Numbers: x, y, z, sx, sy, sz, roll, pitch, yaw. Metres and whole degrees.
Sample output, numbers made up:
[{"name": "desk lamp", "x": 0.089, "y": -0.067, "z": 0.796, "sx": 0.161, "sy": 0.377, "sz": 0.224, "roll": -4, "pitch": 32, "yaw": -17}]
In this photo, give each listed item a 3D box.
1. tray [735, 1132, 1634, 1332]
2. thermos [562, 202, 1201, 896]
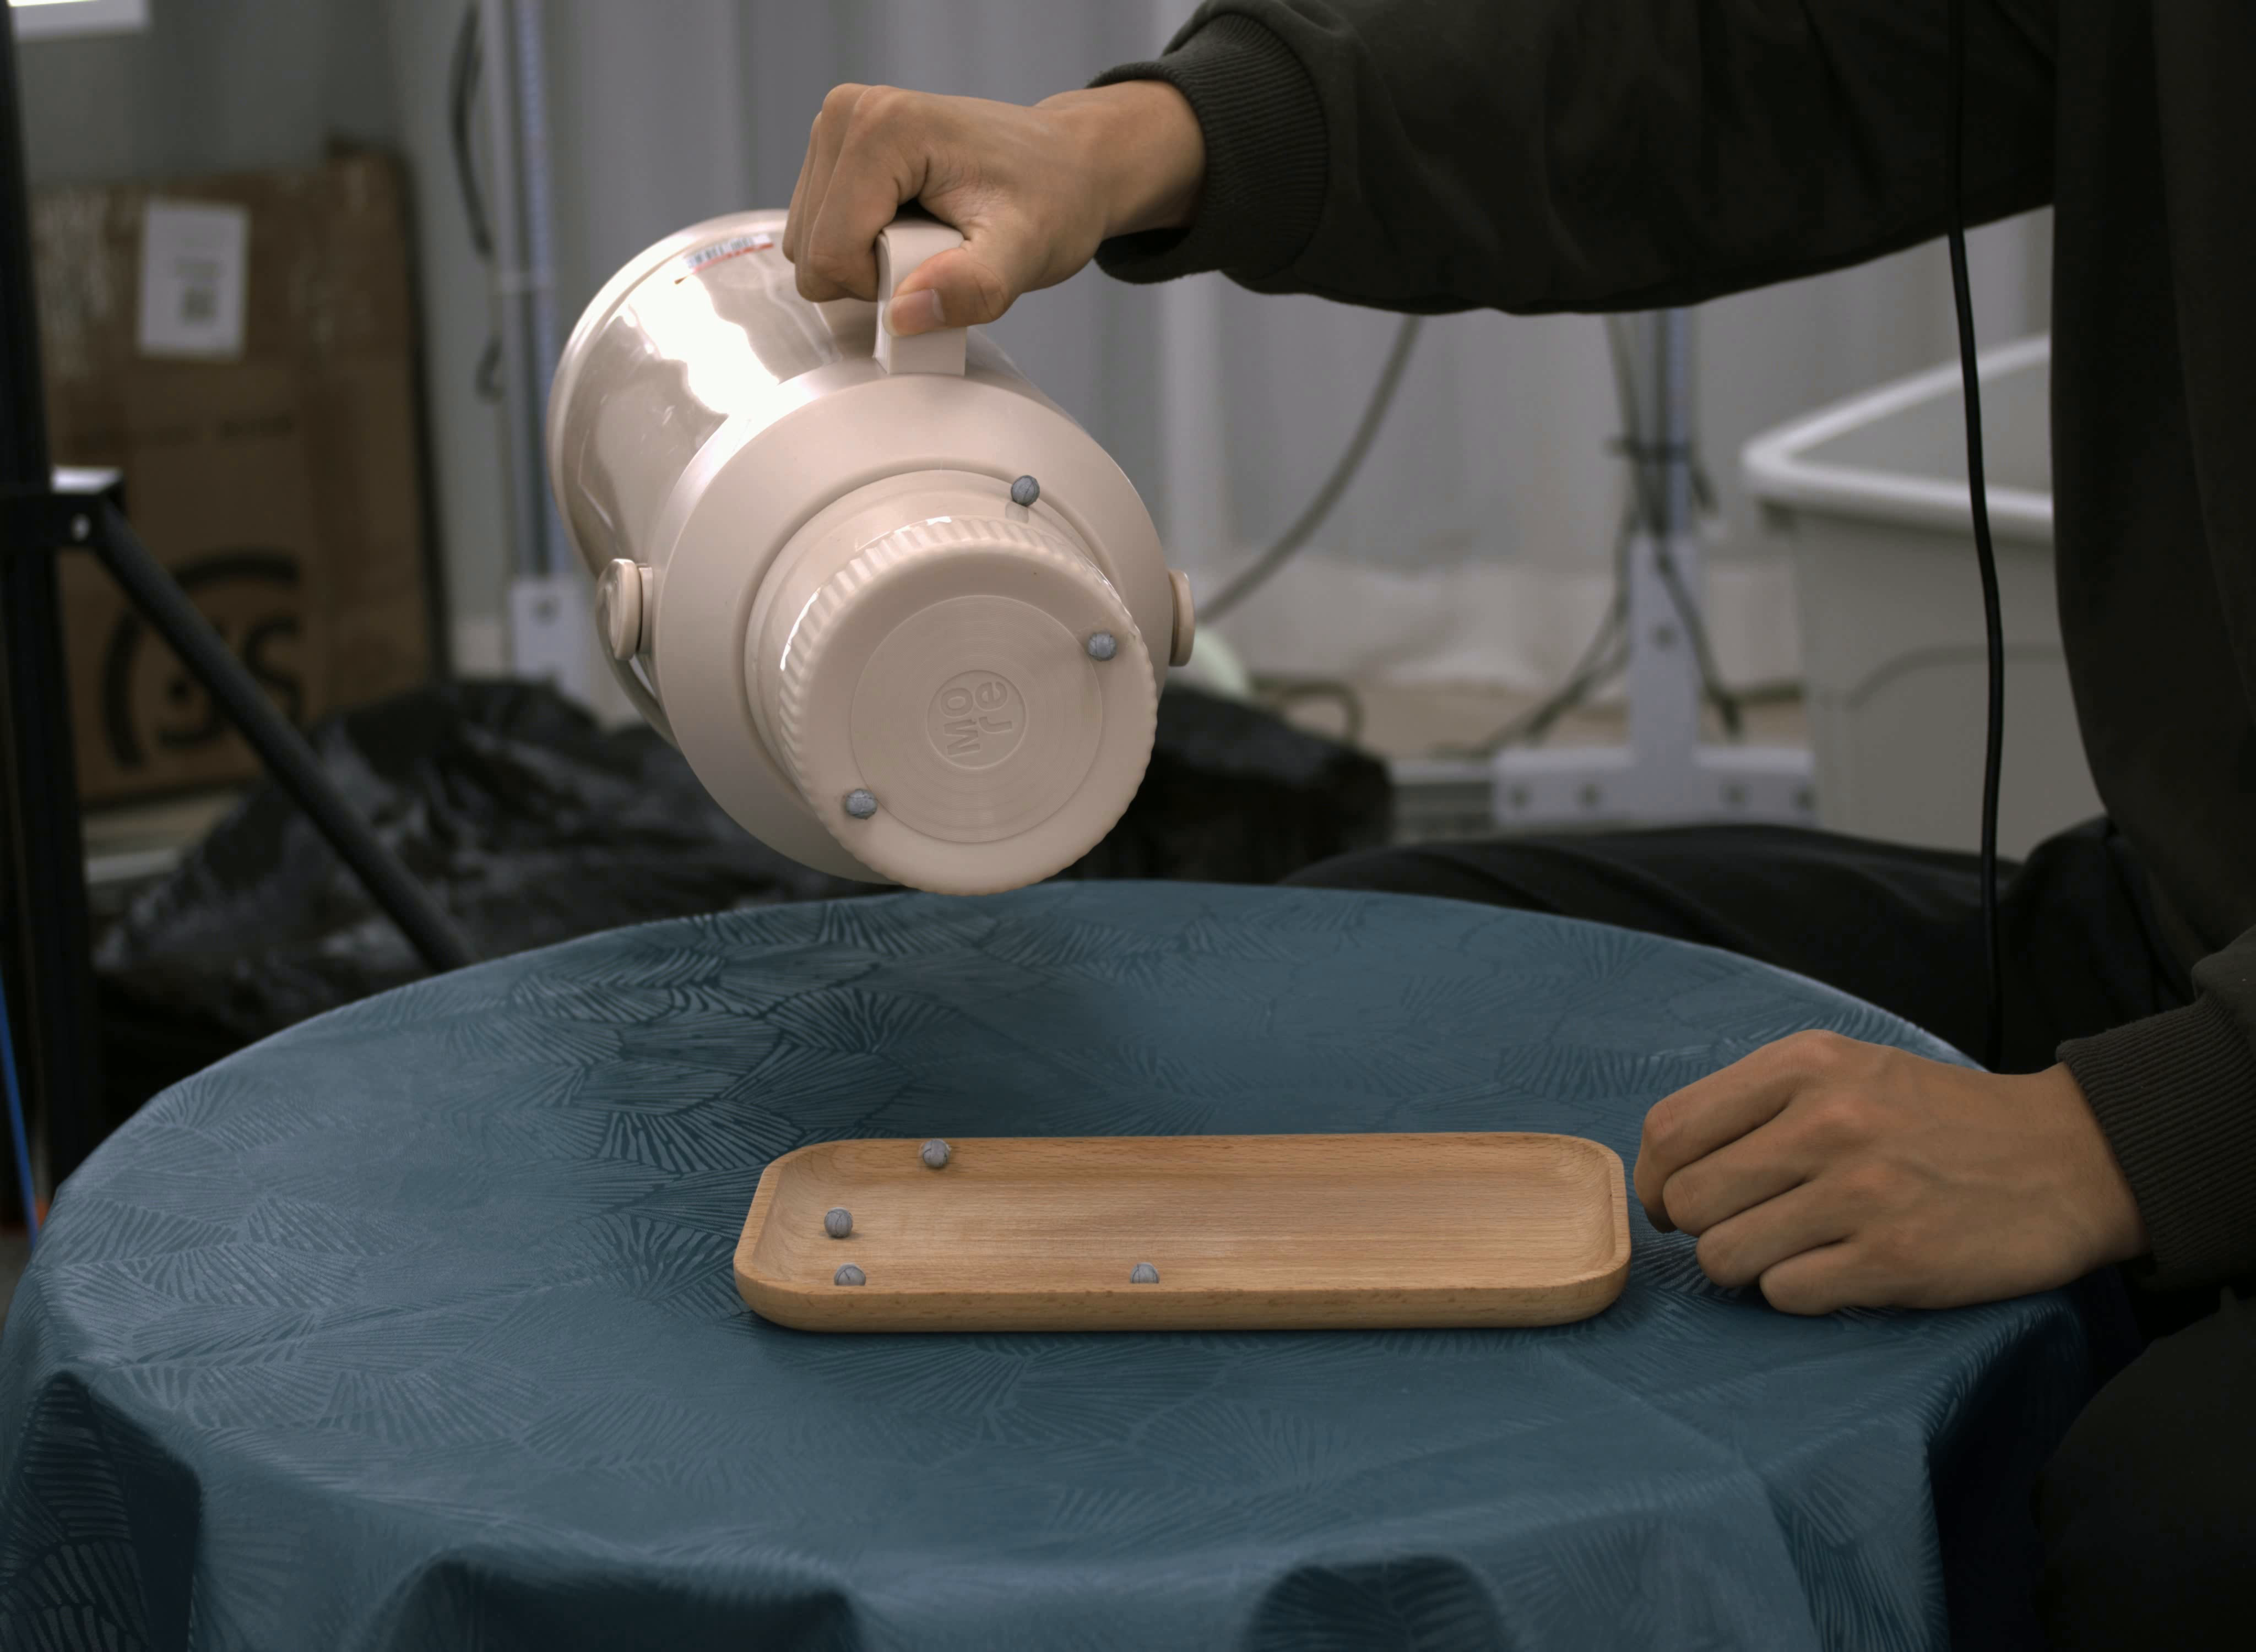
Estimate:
[{"name": "tray", "x": 0.017, "y": 0.115, "z": 1.503, "sx": 0.251, "sy": 0.023, "sz": 0.130, "roll": 0, "pitch": 18, "yaw": 6}, {"name": "thermos", "x": -0.078, "y": -0.096, "z": 1.674, "sx": 0.173, "sy": 0.207, "sz": 0.411, "roll": 0, "pitch": 15, "yaw": -10}]
